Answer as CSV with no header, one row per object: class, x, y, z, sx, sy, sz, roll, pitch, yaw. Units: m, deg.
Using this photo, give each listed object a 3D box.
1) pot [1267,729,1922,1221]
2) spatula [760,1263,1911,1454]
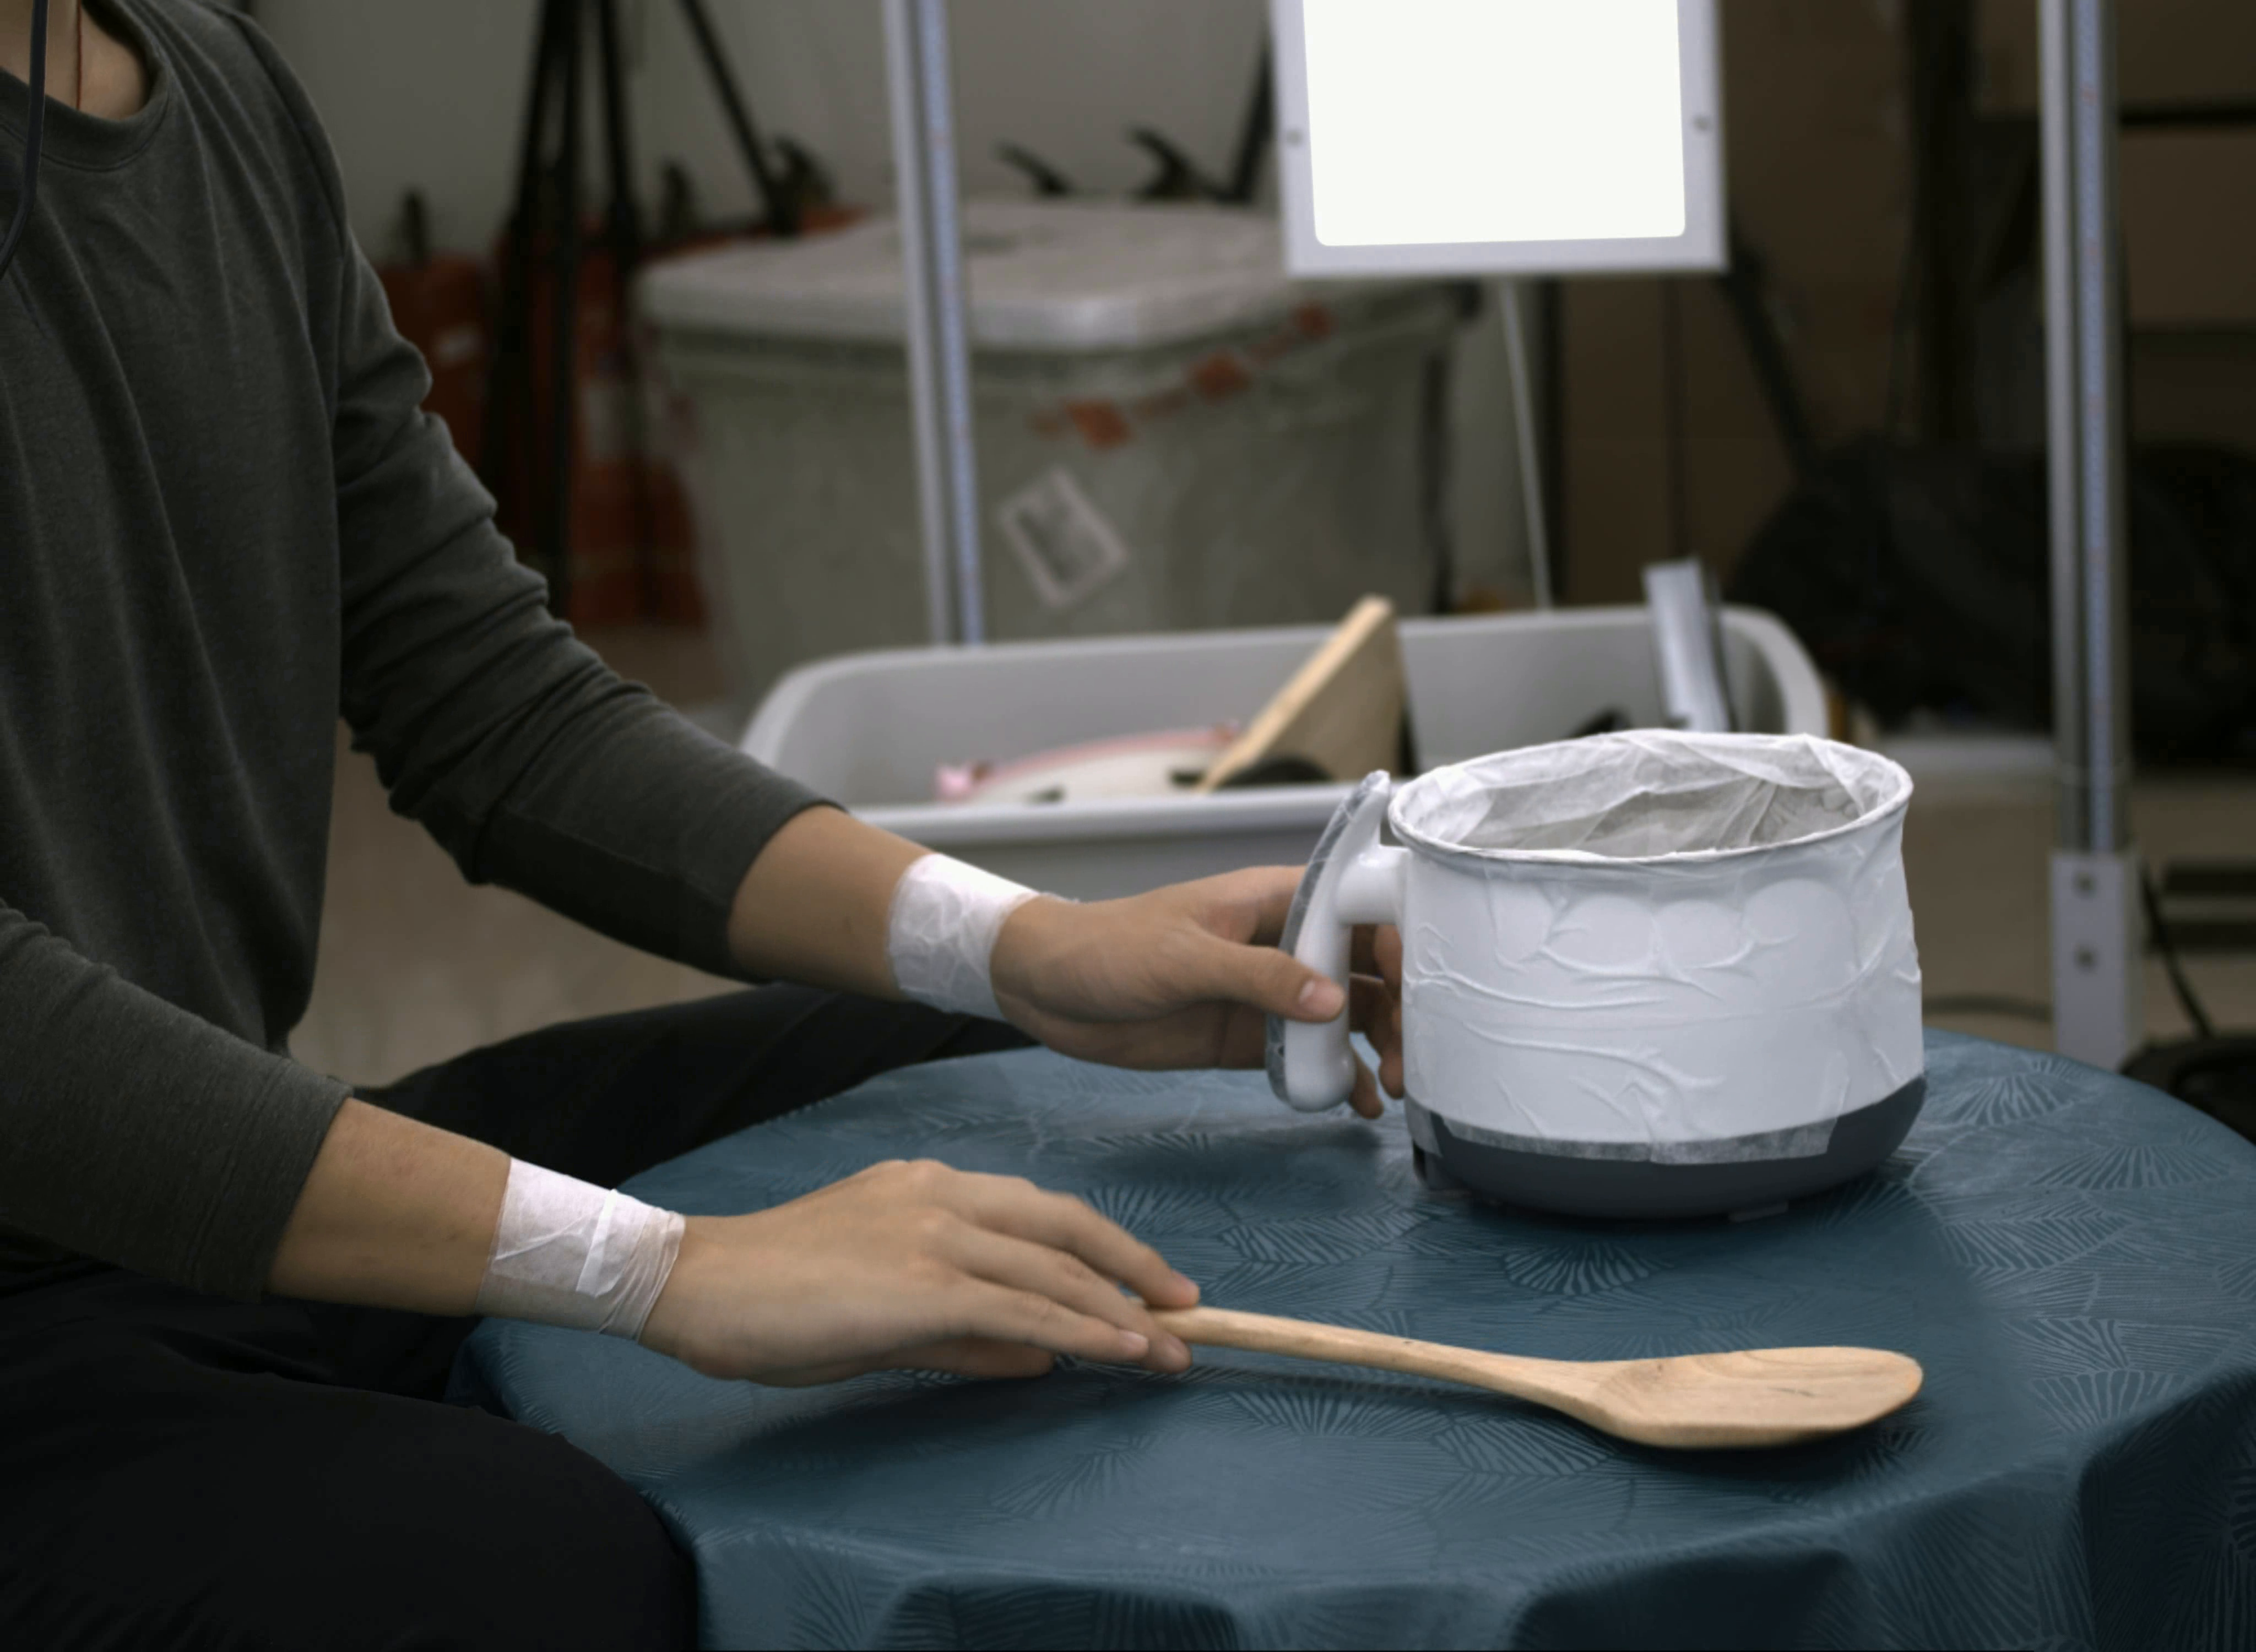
pot,0.156,0.049,1.874,0.237,0.137,0.175,2,15,25
spatula,0.052,0.159,1.689,0.398,0.018,0.093,5,11,29
